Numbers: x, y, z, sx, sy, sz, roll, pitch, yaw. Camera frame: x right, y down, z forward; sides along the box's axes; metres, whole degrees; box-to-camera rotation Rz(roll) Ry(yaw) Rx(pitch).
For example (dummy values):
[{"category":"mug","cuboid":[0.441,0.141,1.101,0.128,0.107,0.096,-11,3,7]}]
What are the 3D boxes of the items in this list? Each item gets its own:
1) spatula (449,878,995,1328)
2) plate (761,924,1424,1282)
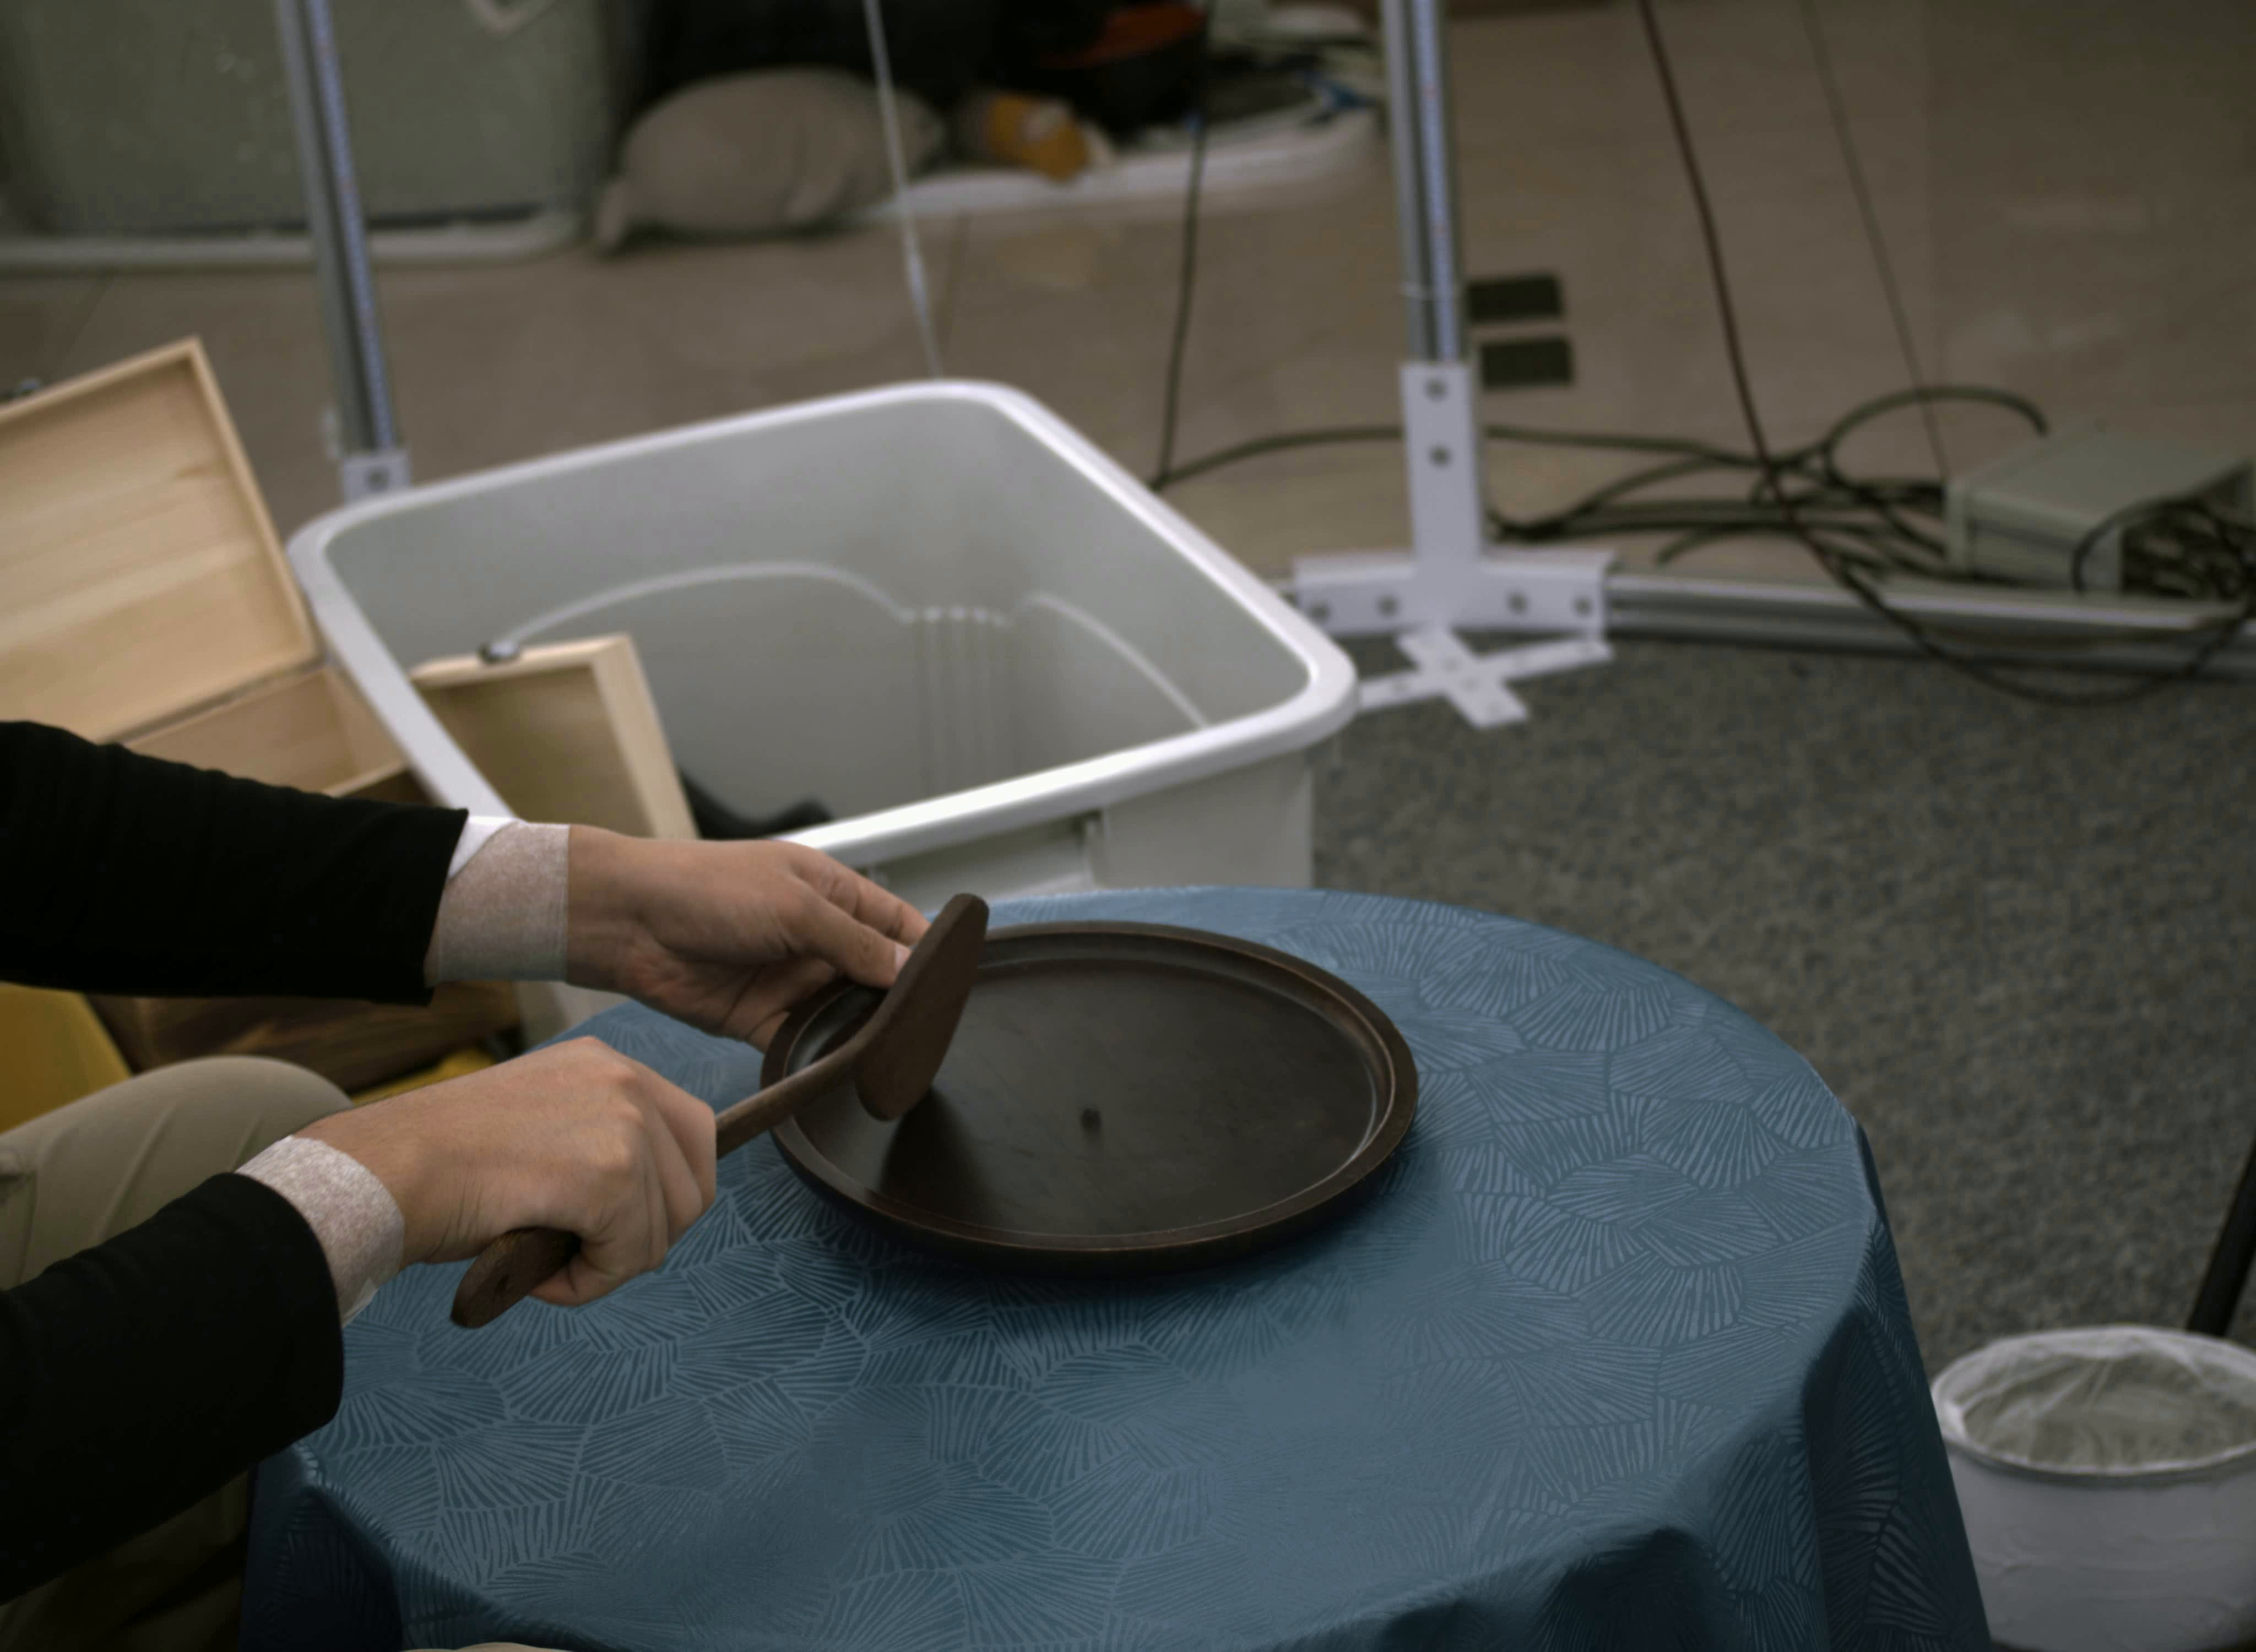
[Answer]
[{"category":"spatula","cuboid":[-0.138,0.105,1.998,0.015,0.097,0.383,26,24,18]},{"category":"plate","cuboid":[-0.014,0.104,2.167,0.254,0.029,0.251,1,29,-1]}]
